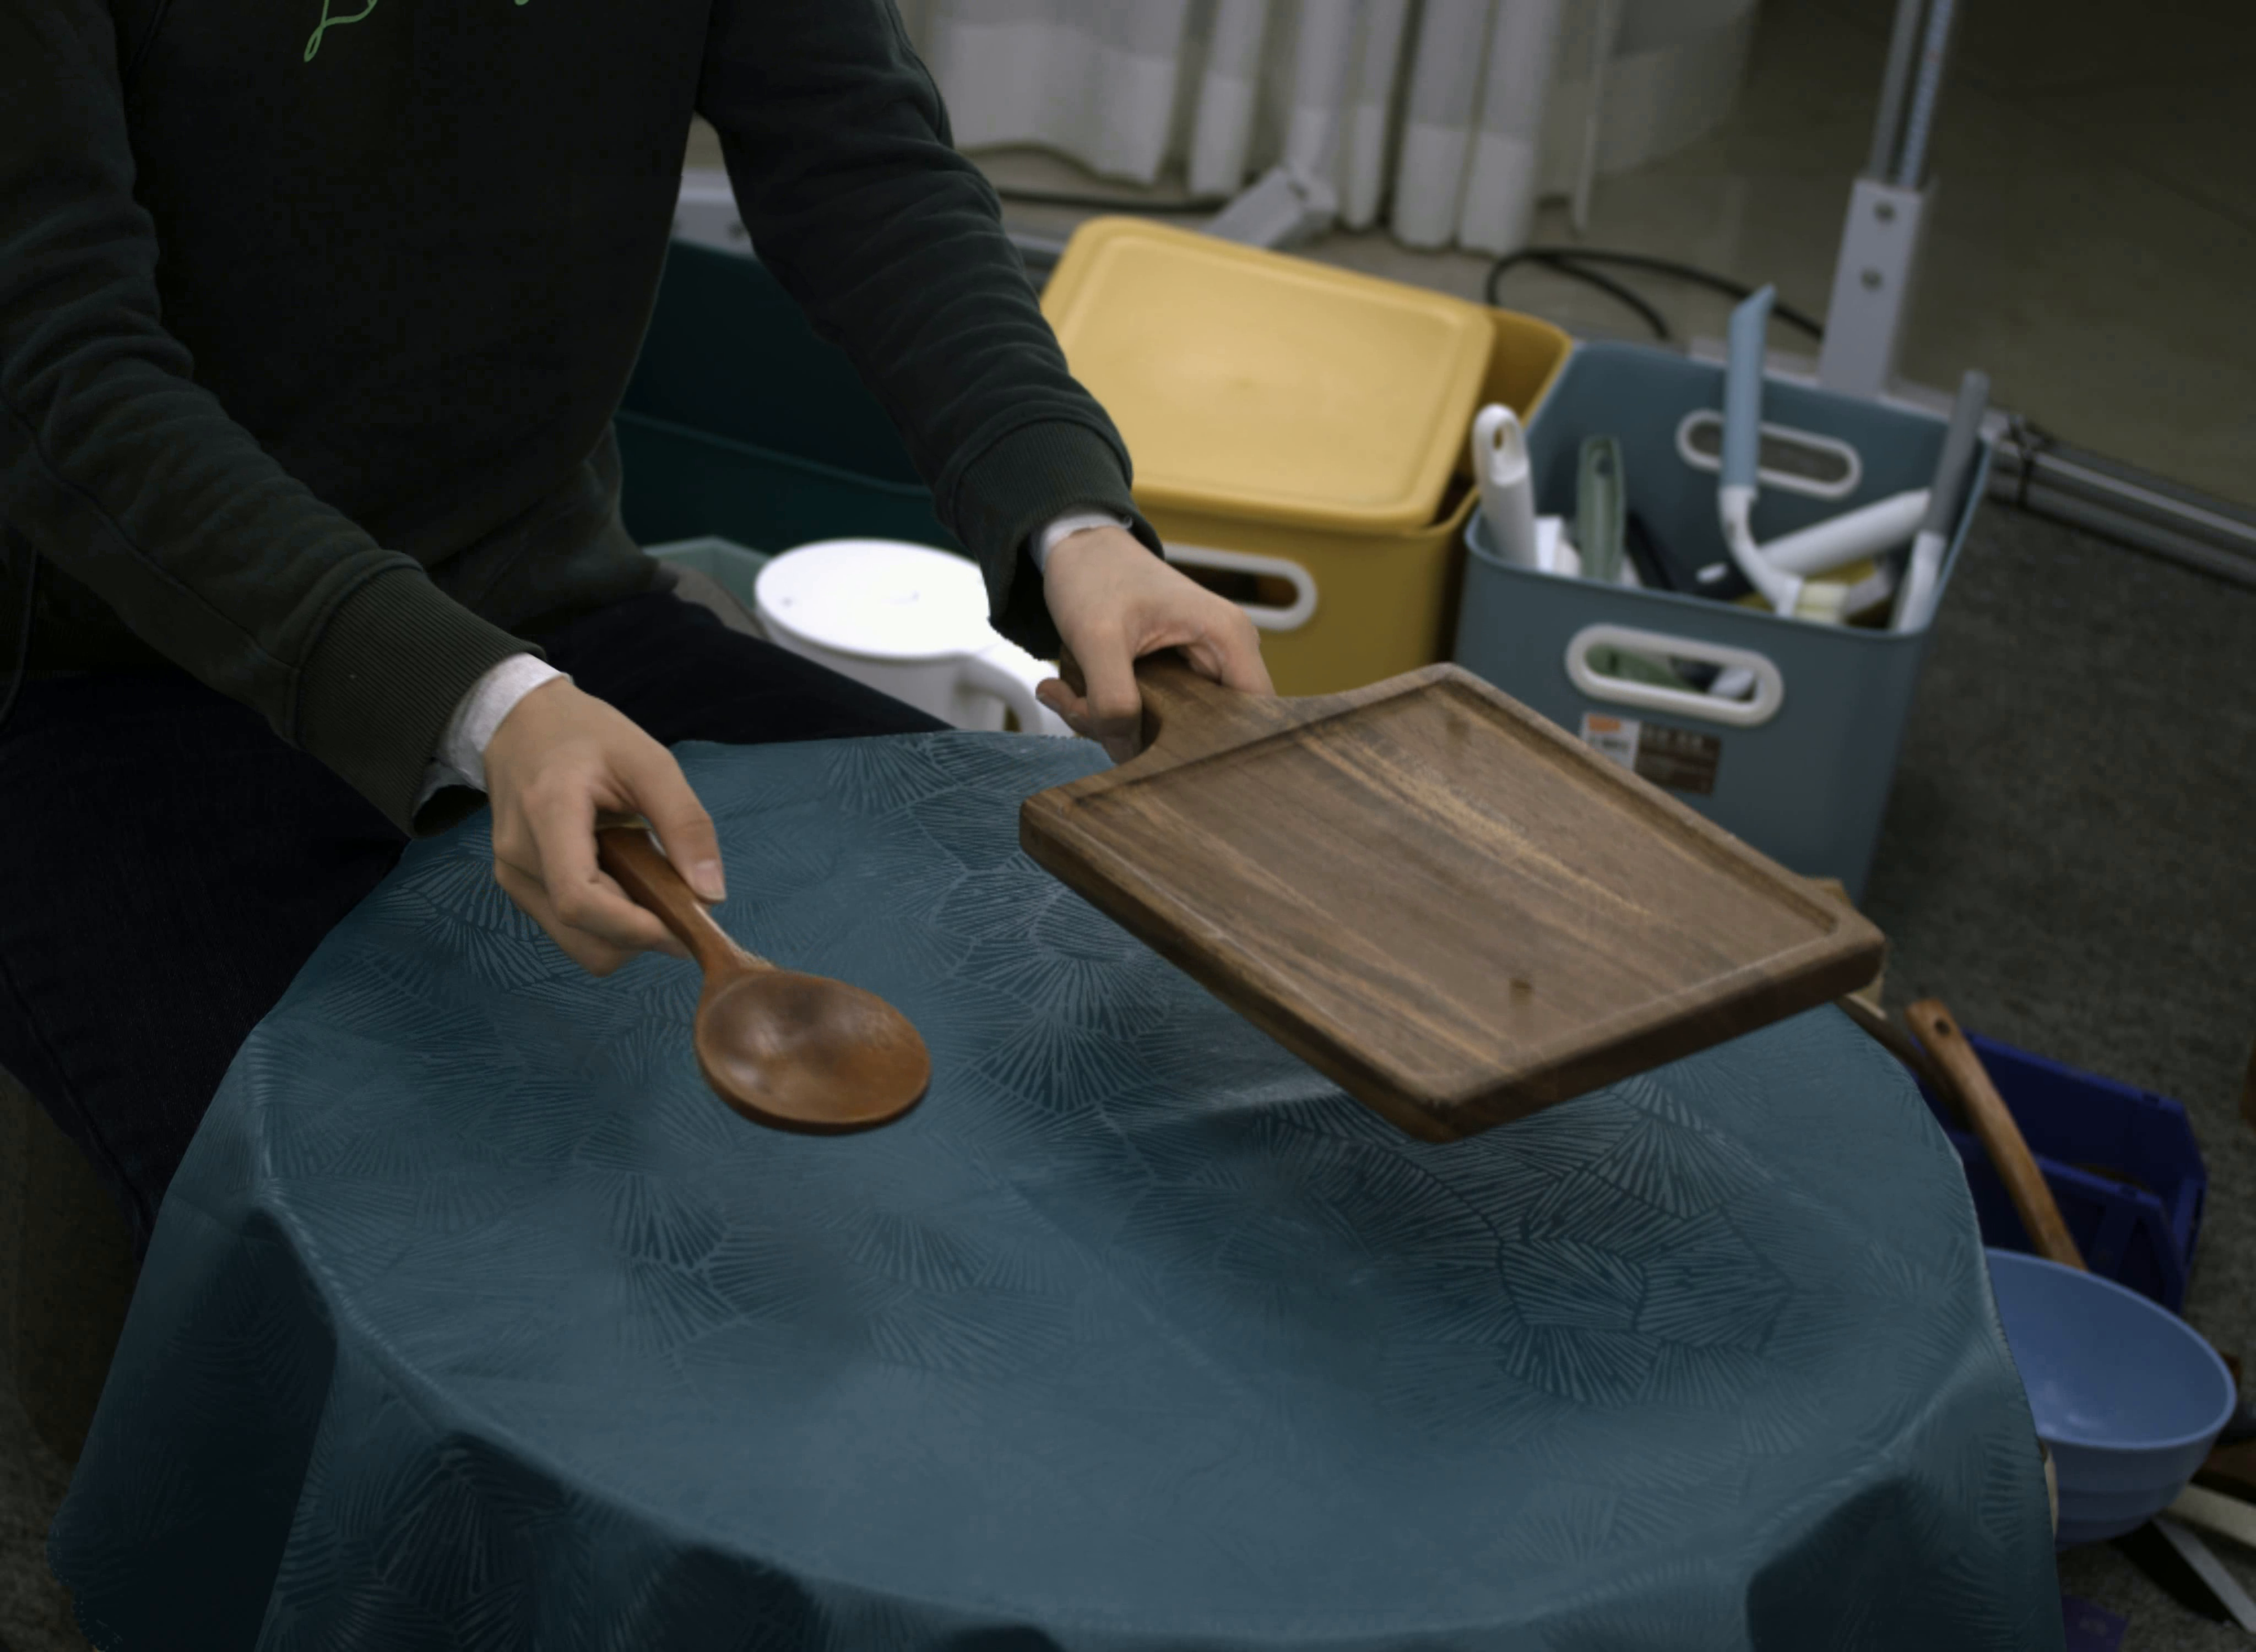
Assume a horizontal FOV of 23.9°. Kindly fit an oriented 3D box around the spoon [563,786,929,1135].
[{"bbox_3d":[-0.135,0.044,1.766,0.075,0.017,0.218,-15,37,-25],"label":"spoon"}]

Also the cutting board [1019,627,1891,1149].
[{"bbox_3d":[0.082,0.002,1.869,0.200,0.023,0.355,-20,33,-28],"label":"cutting board"}]
